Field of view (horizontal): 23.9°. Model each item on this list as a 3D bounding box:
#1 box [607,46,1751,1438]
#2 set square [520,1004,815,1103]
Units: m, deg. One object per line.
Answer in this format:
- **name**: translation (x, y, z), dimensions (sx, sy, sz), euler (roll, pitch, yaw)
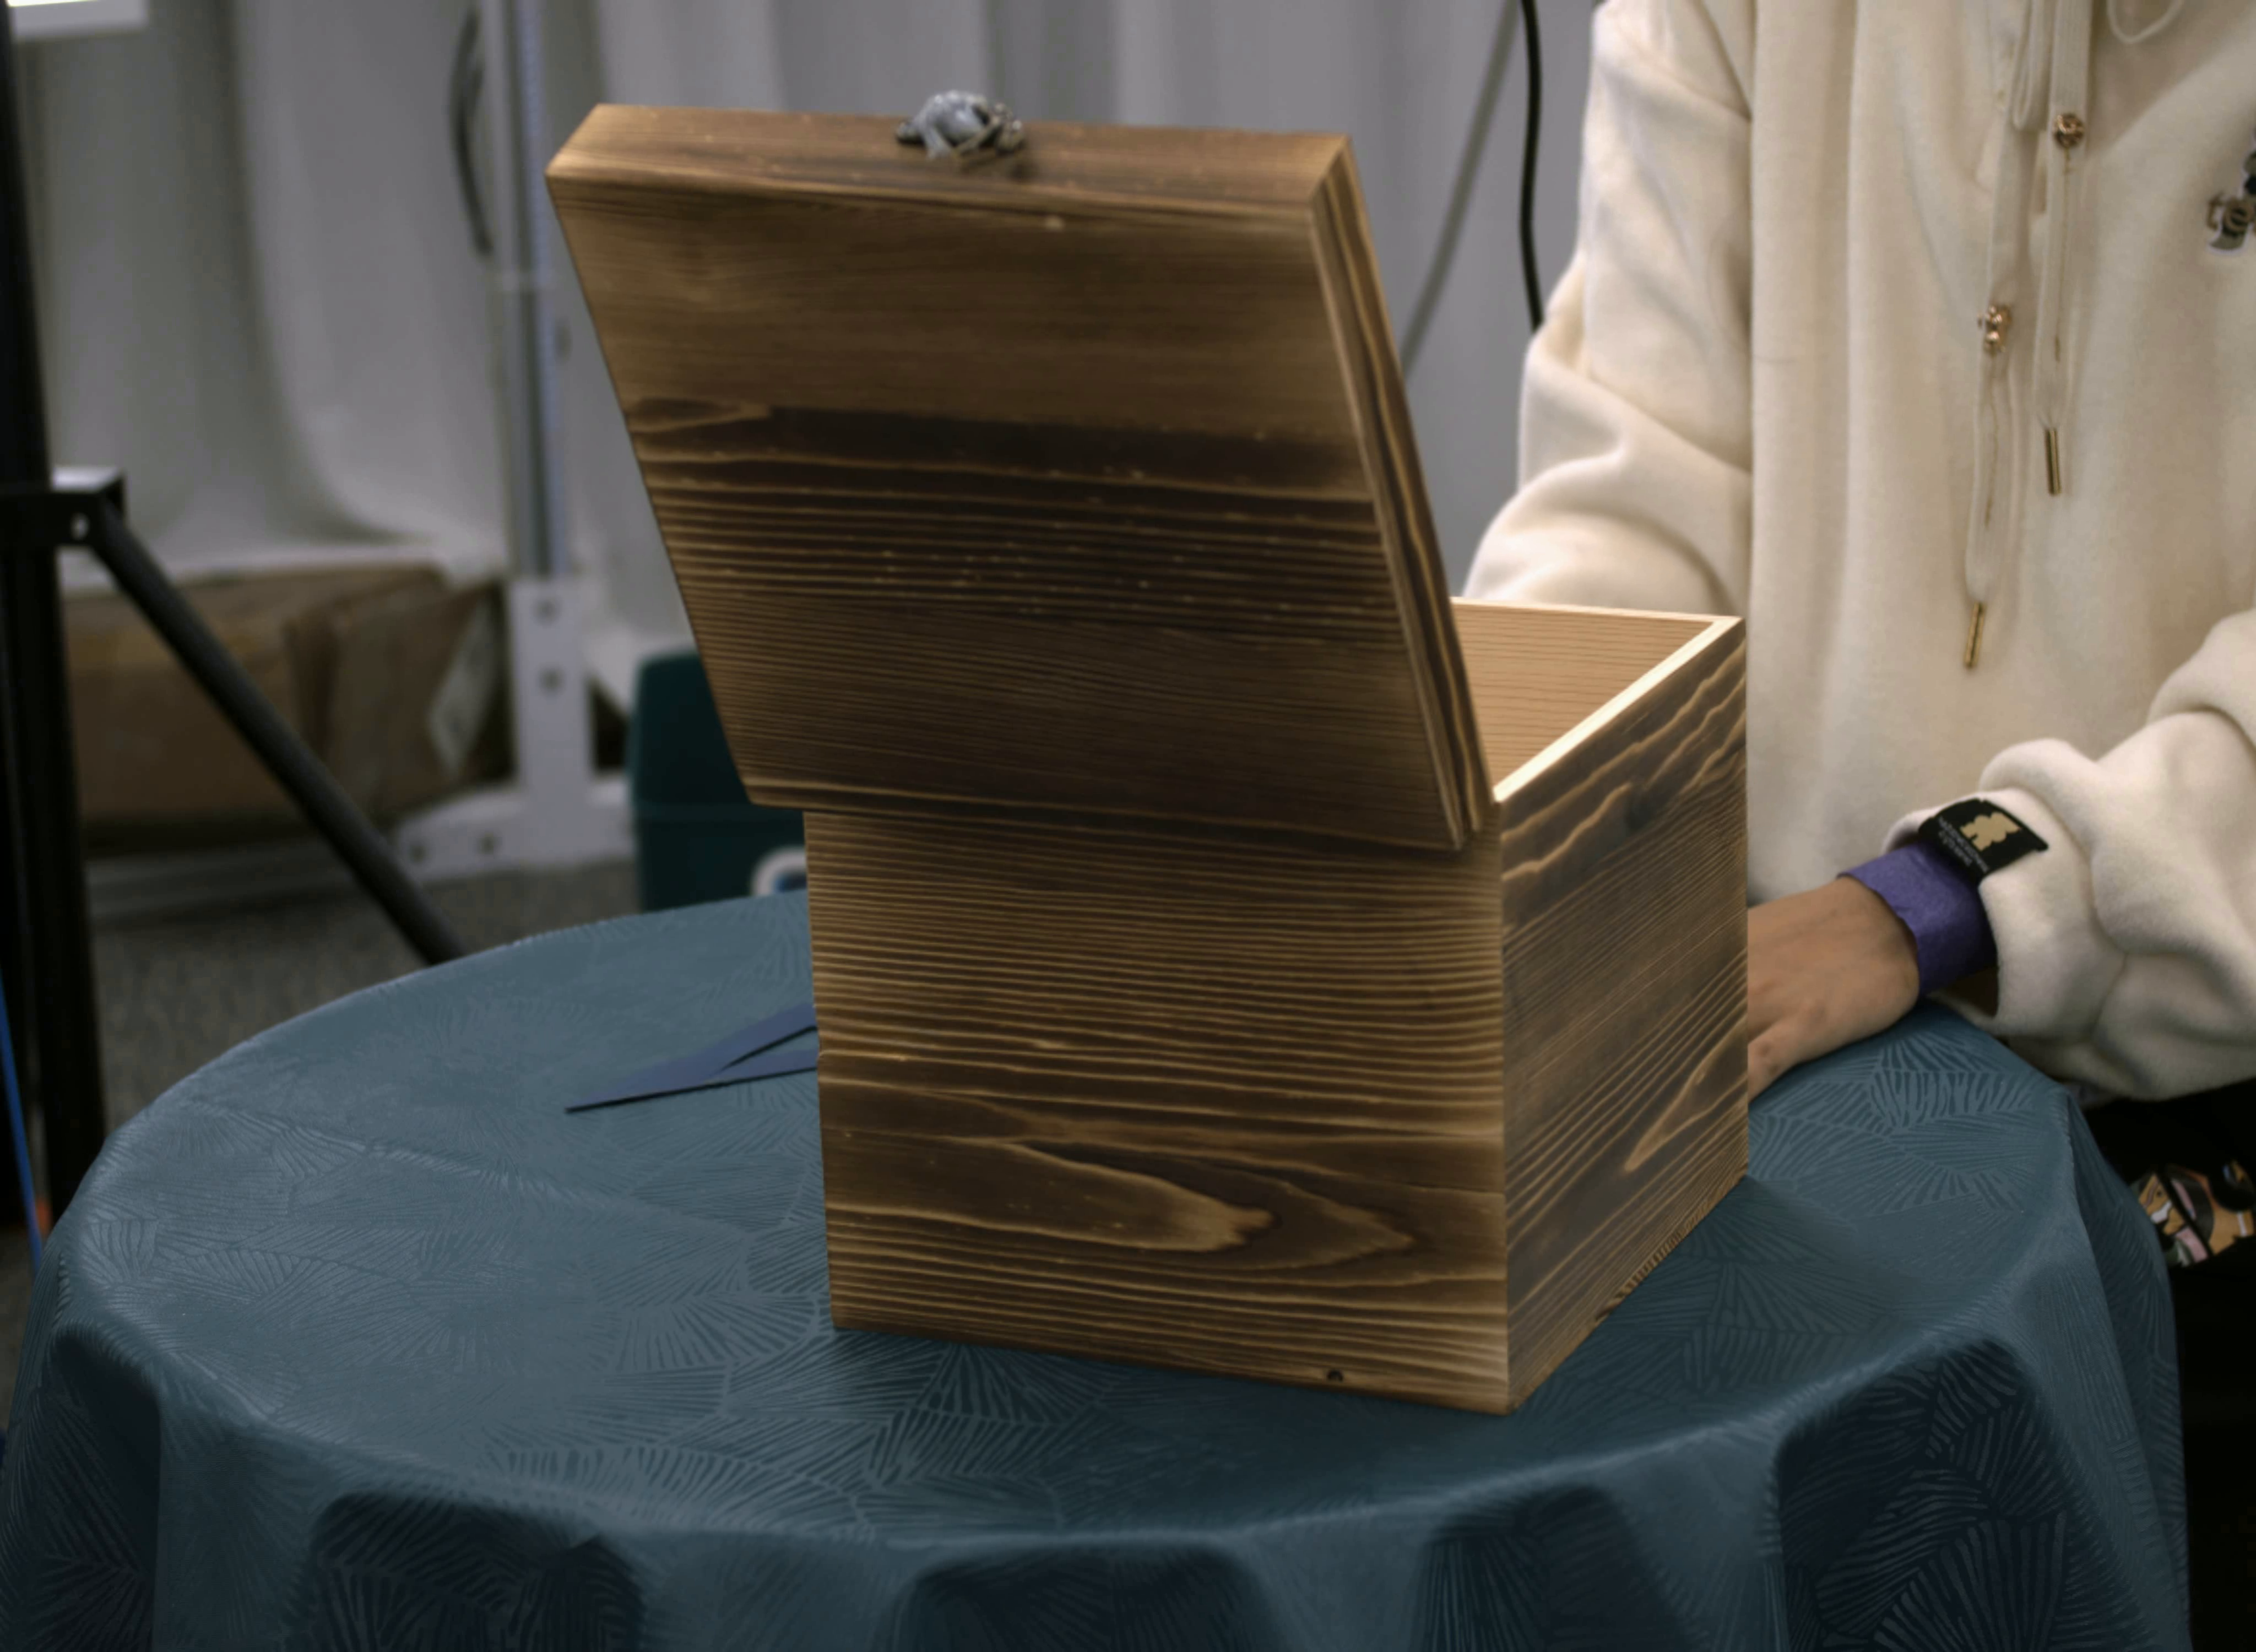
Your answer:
- **box**: translation (0.025, -0.037, 1.413), dimensions (0.212, 0.375, 0.317), euler (6, 18, 24)
- **set square**: translation (-0.135, 0.070, 1.706), dimensions (0.130, 0.006, 0.062), euler (-7, 18, -18)
